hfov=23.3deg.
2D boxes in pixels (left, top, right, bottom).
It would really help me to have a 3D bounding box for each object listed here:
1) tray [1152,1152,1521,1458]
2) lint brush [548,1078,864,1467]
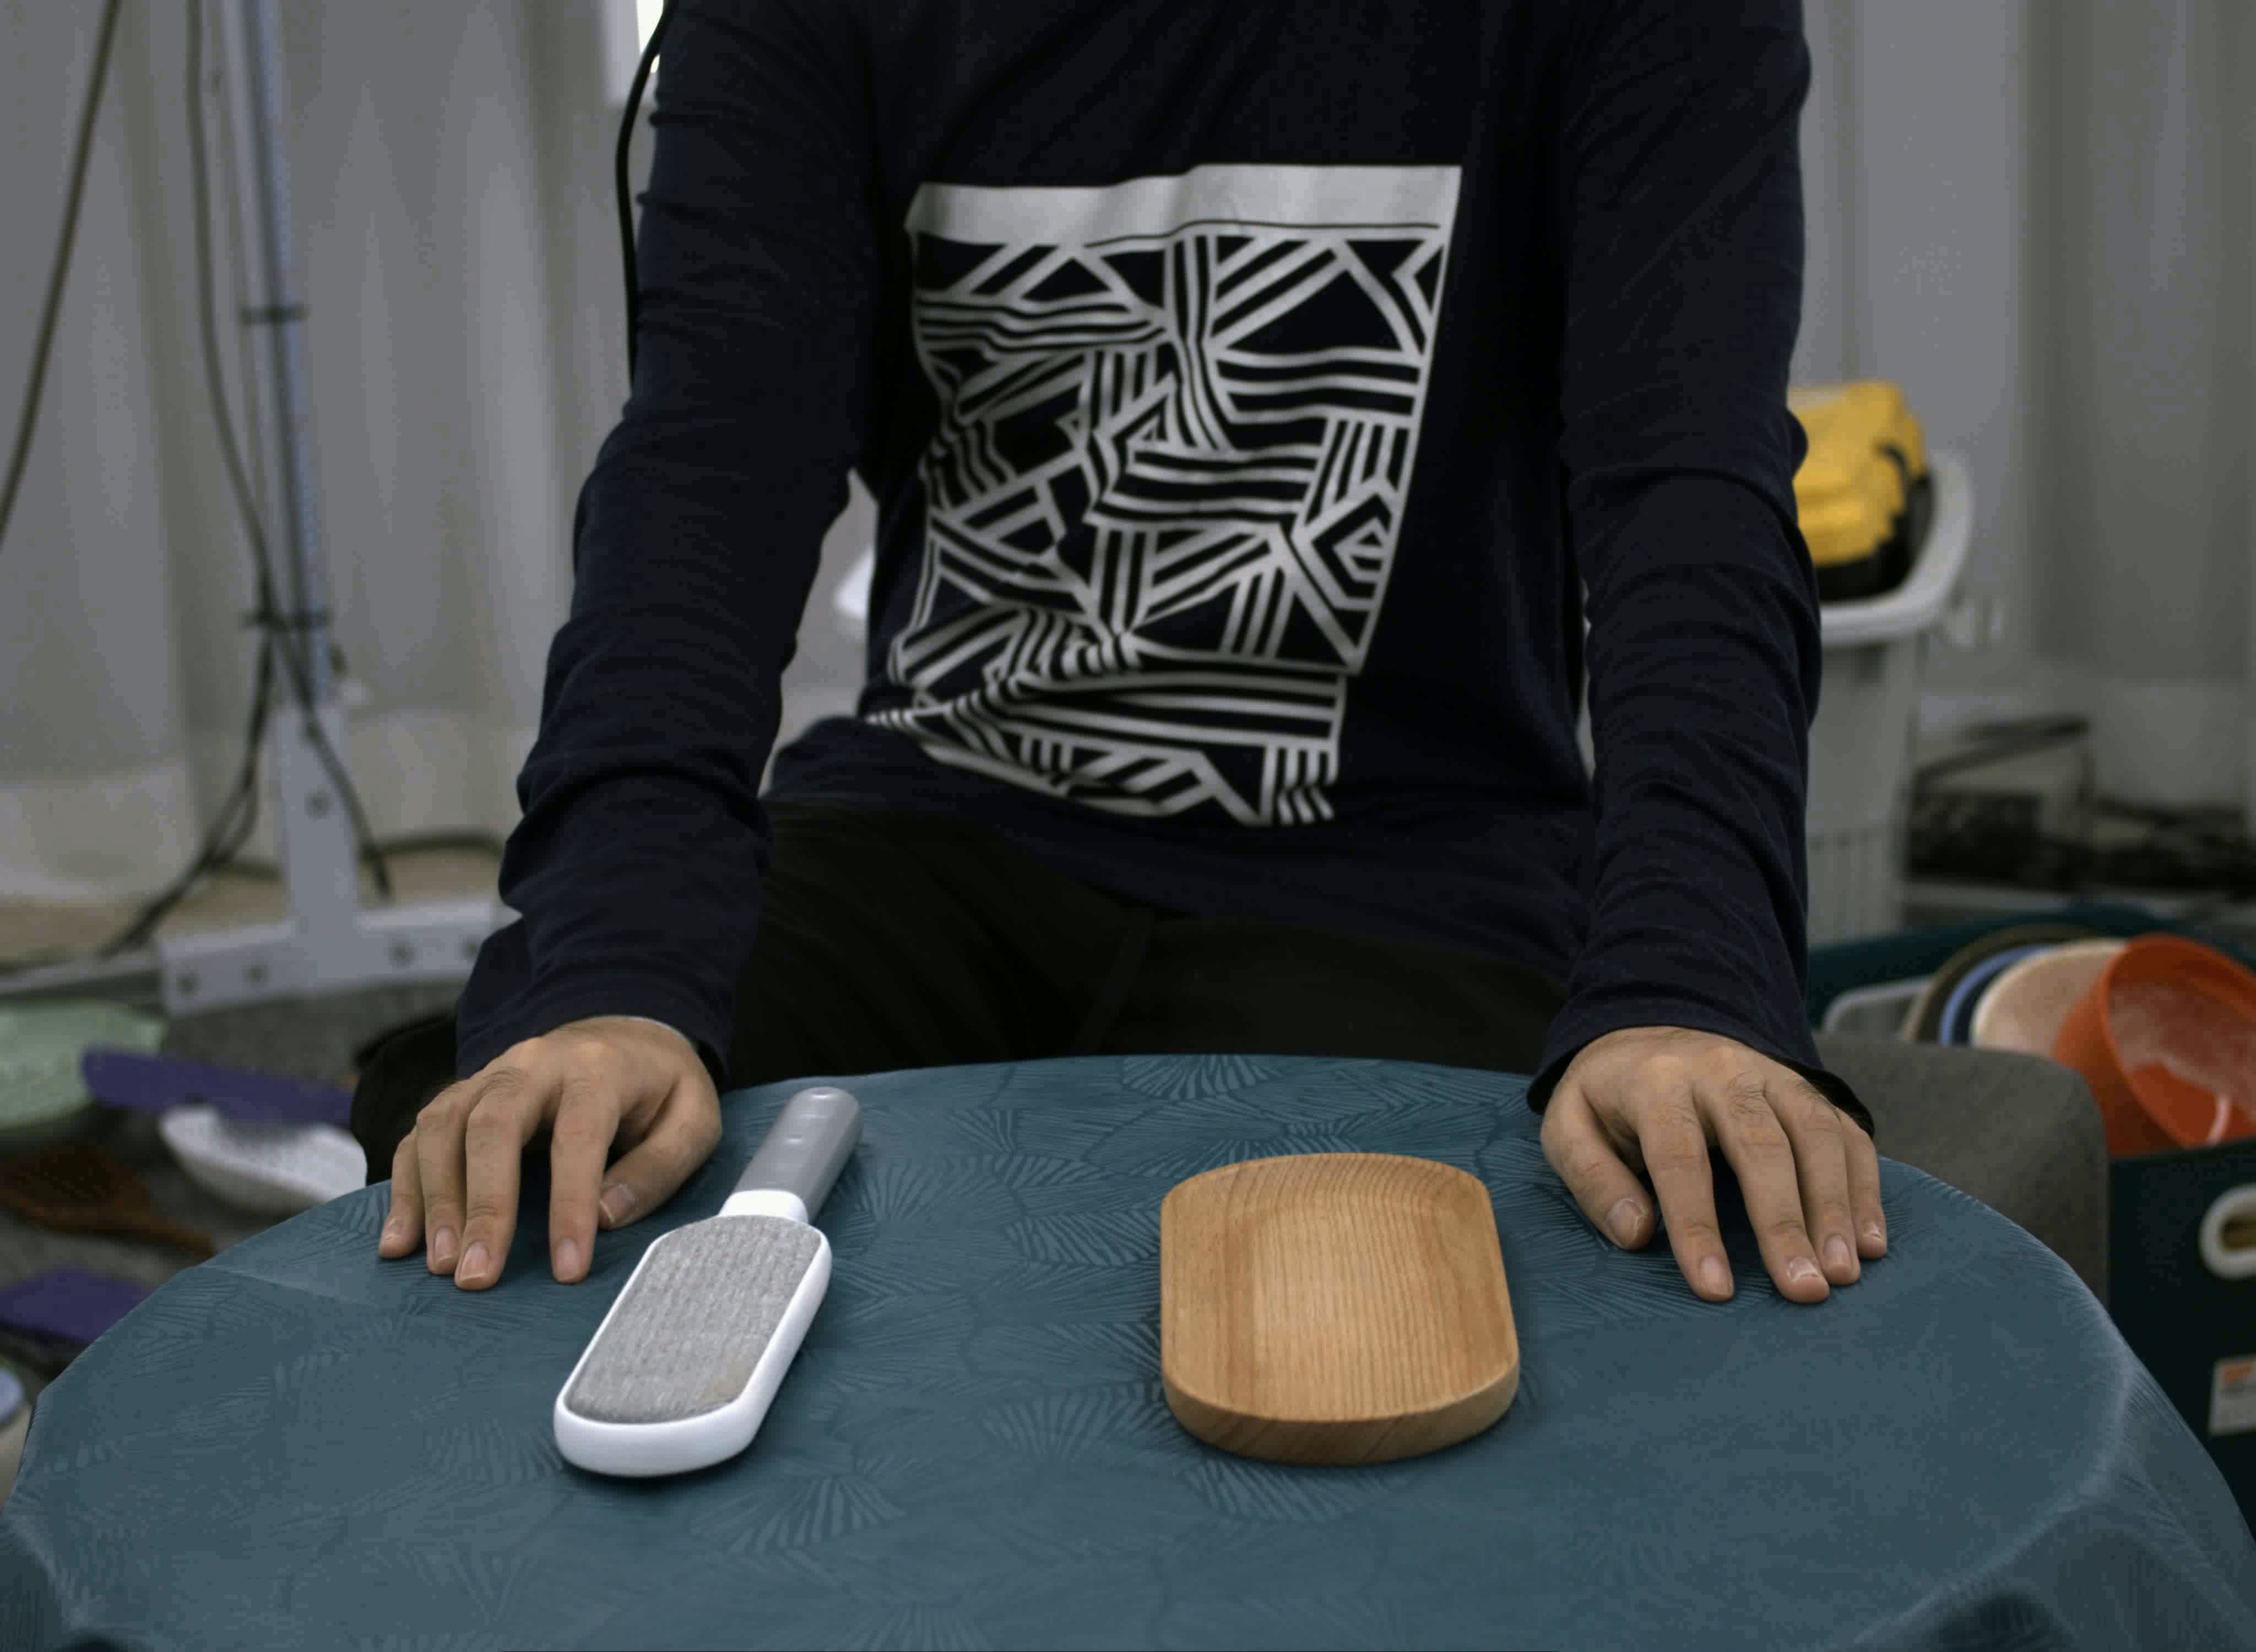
[{"bbox_3d":[0.059,0.137,1.593,0.101,0.020,0.232,-1,13,-1],"label":"tray"},{"bbox_3d":[-0.115,0.129,1.633,0.060,0.021,0.310,-6,14,9],"label":"lint brush"}]
